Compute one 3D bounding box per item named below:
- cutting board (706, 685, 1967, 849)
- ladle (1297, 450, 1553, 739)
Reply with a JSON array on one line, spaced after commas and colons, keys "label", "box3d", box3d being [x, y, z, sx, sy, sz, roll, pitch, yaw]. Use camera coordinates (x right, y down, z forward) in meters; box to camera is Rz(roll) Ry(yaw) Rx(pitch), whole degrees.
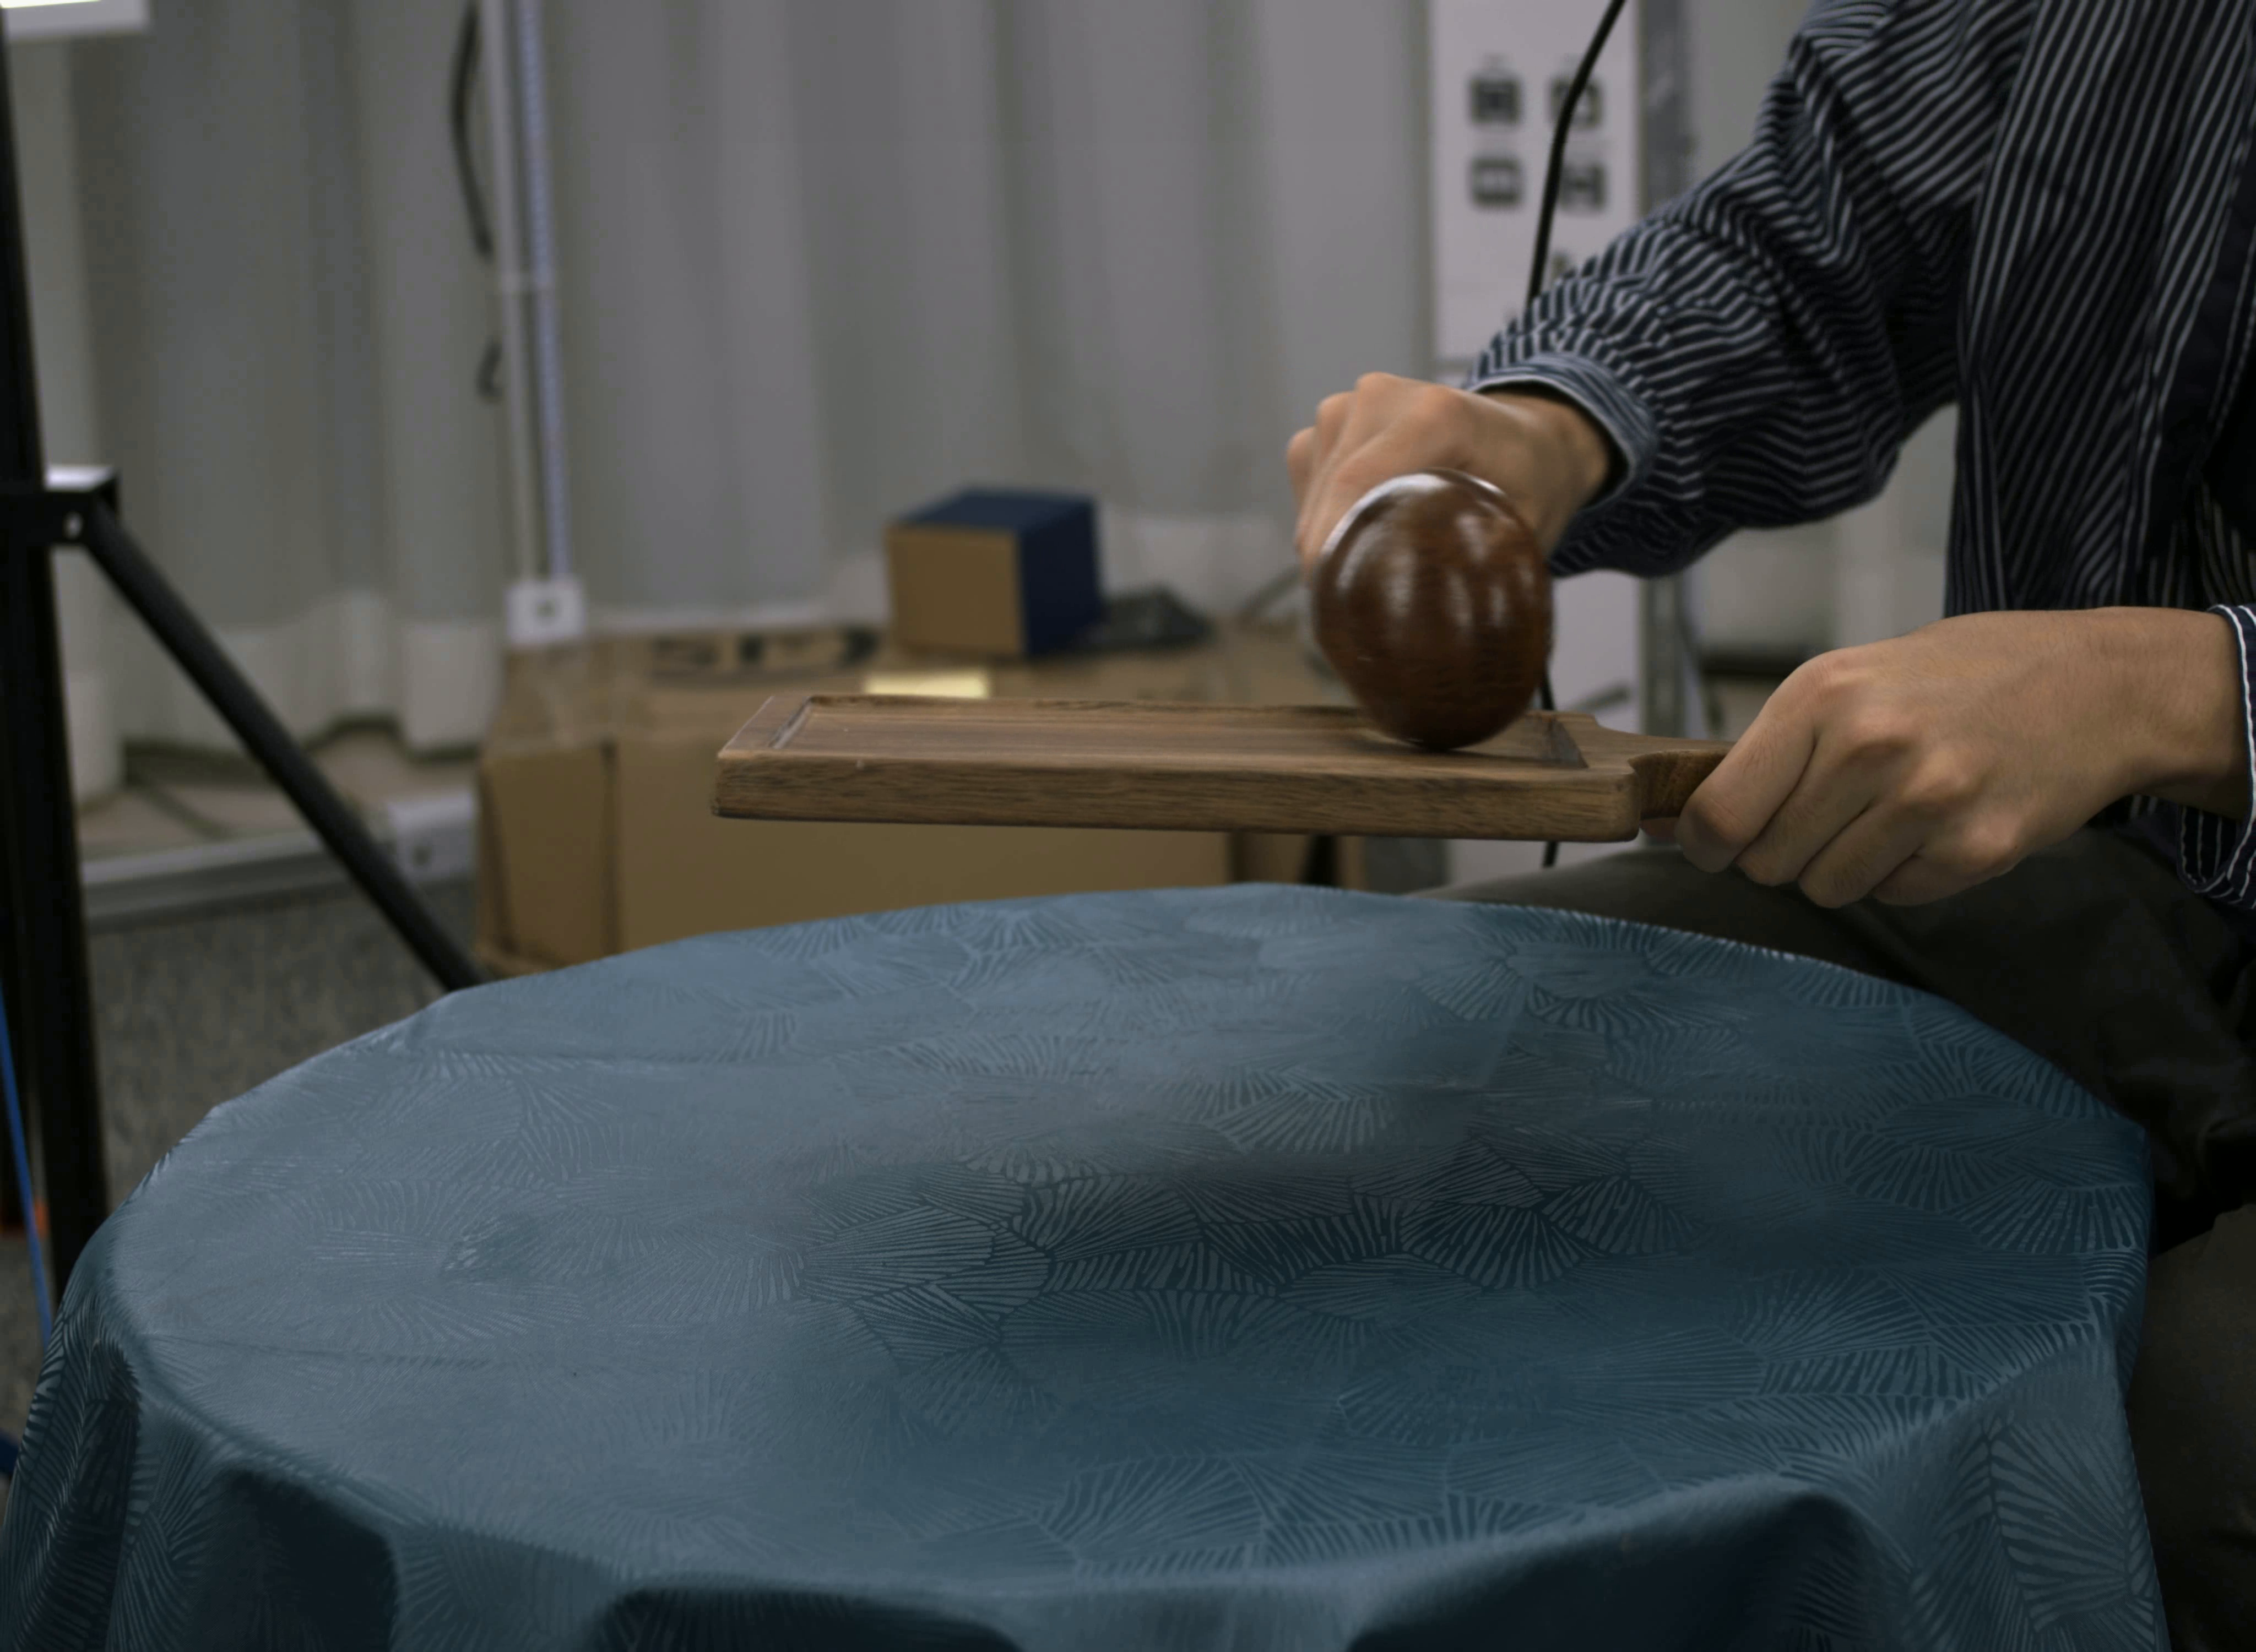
[{"label": "cutting board", "box3d": [0.062, -0.016, 1.505, 0.351, 0.023, 0.201, 2, 7, 3]}, {"label": "ladle", "box3d": [0.096, -0.079, 1.618, 0.077, 0.082, 0.273, 6, 8, 6]}]
